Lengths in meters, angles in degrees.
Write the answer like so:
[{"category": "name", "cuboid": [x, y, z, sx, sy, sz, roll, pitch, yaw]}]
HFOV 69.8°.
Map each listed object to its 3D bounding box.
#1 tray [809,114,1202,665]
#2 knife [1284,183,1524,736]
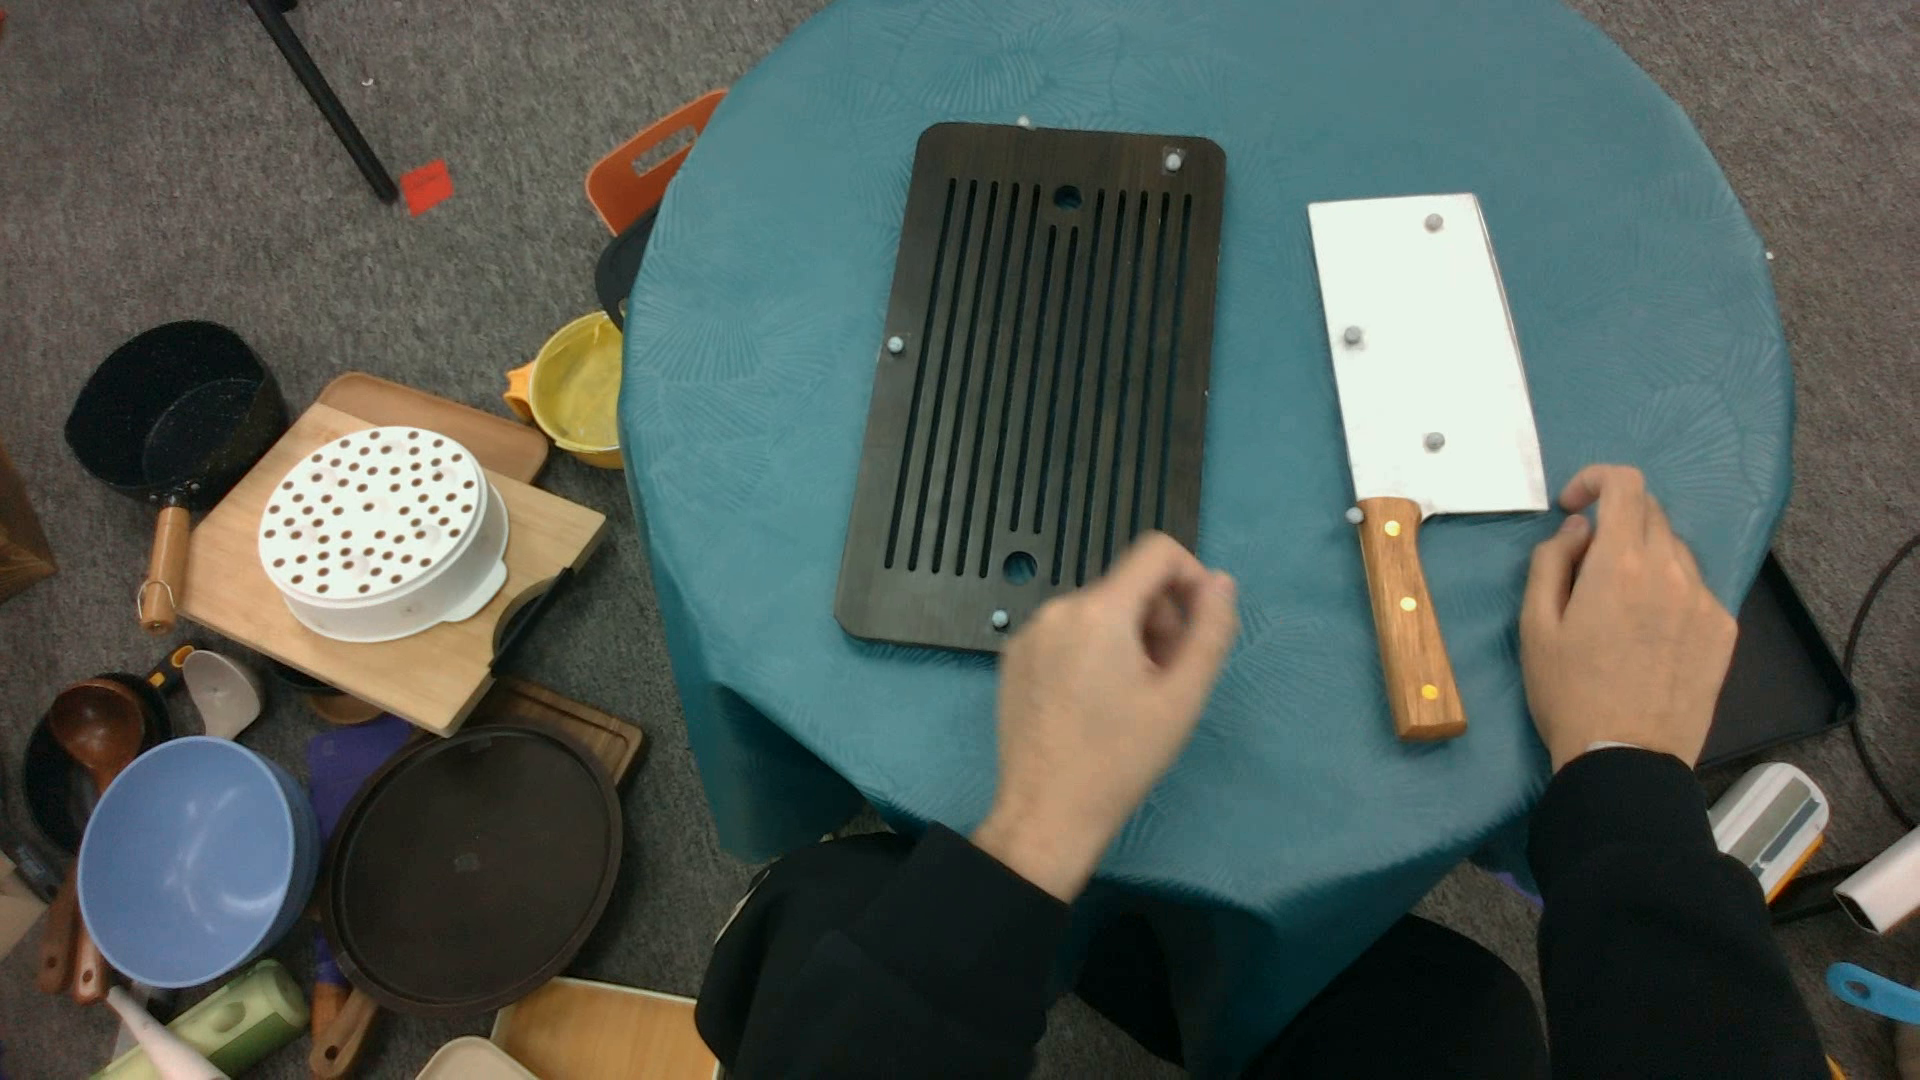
[{"category": "tray", "cuboid": [0.030, -0.088, 0.703, 0.170, 0.018, 0.307, 6, 67, 6]}, {"category": "knife", "cuboid": [0.225, -0.053, 0.678, 0.093, 0.021, 0.307, -3, 64, 1]}]
